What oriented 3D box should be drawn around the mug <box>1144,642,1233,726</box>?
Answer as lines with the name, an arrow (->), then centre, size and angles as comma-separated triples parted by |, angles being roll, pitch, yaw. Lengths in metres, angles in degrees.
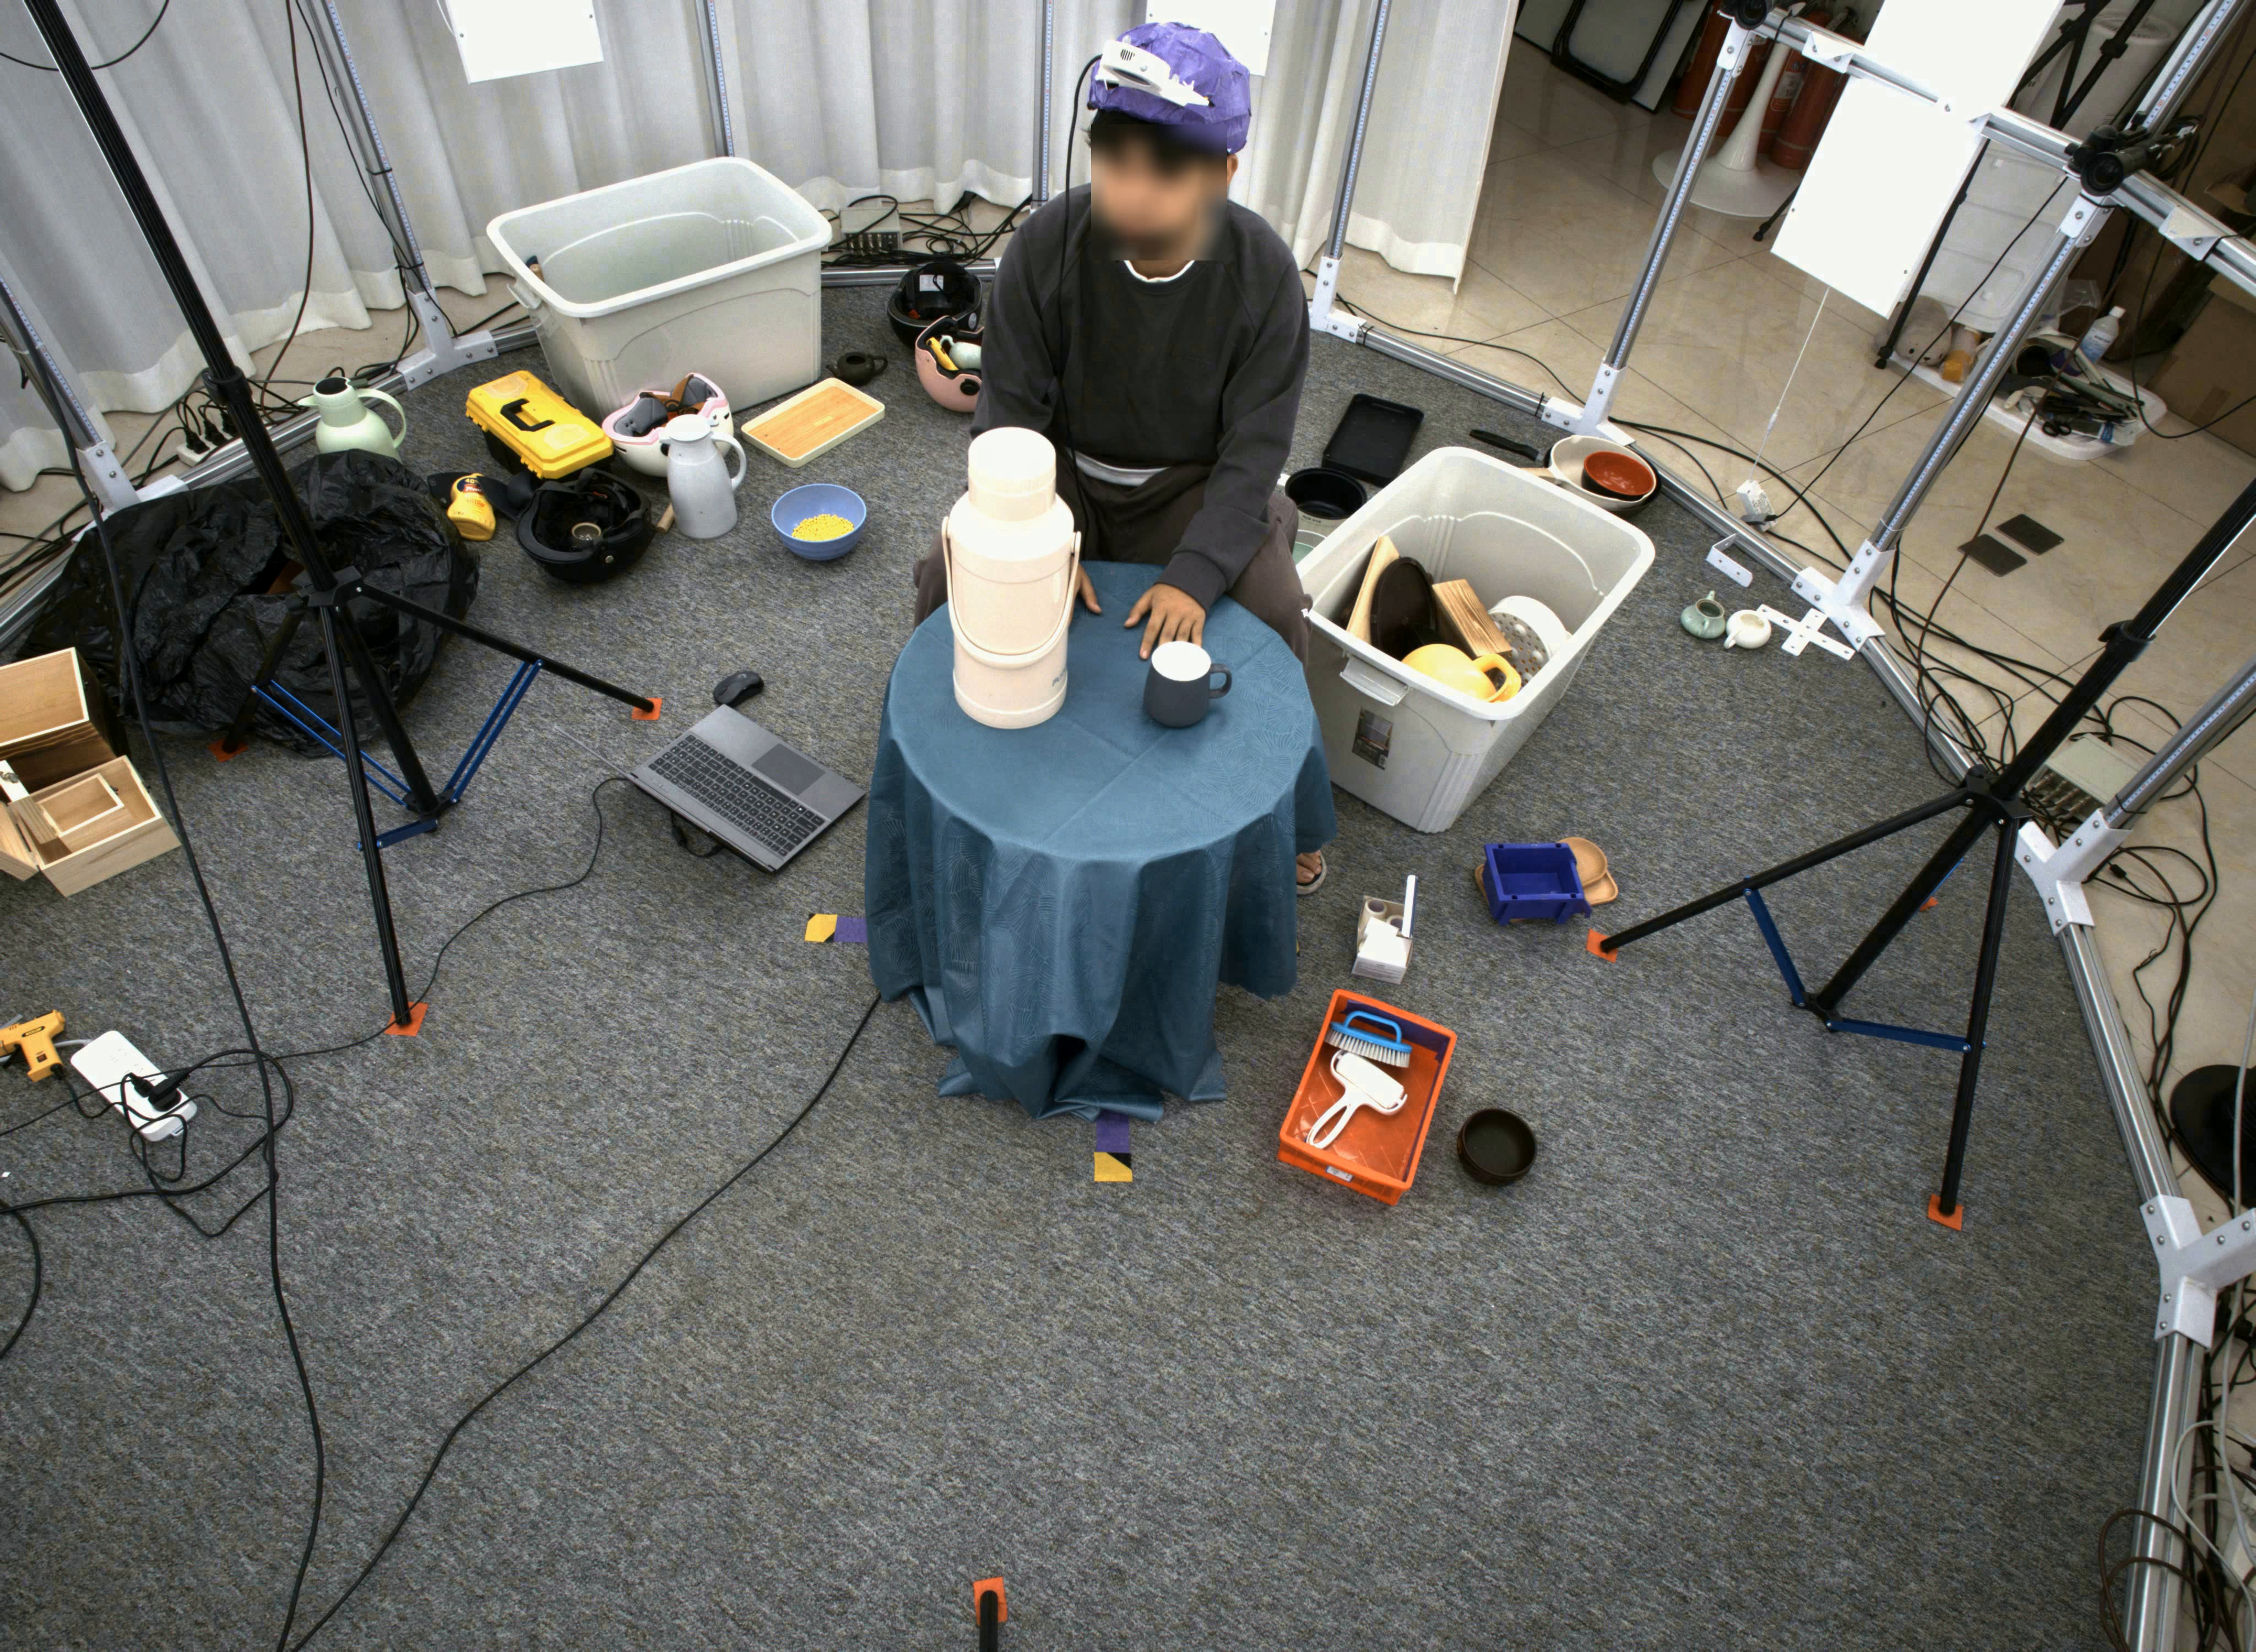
mug -> 0.085, -0.198, 1.785 | 0.123, 0.088, 0.096 | -4, 50, -8

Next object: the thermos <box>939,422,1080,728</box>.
thermos -> -0.151, -0.331, 1.685 | 0.175, 0.396, 0.212 | 6, 49, 0
